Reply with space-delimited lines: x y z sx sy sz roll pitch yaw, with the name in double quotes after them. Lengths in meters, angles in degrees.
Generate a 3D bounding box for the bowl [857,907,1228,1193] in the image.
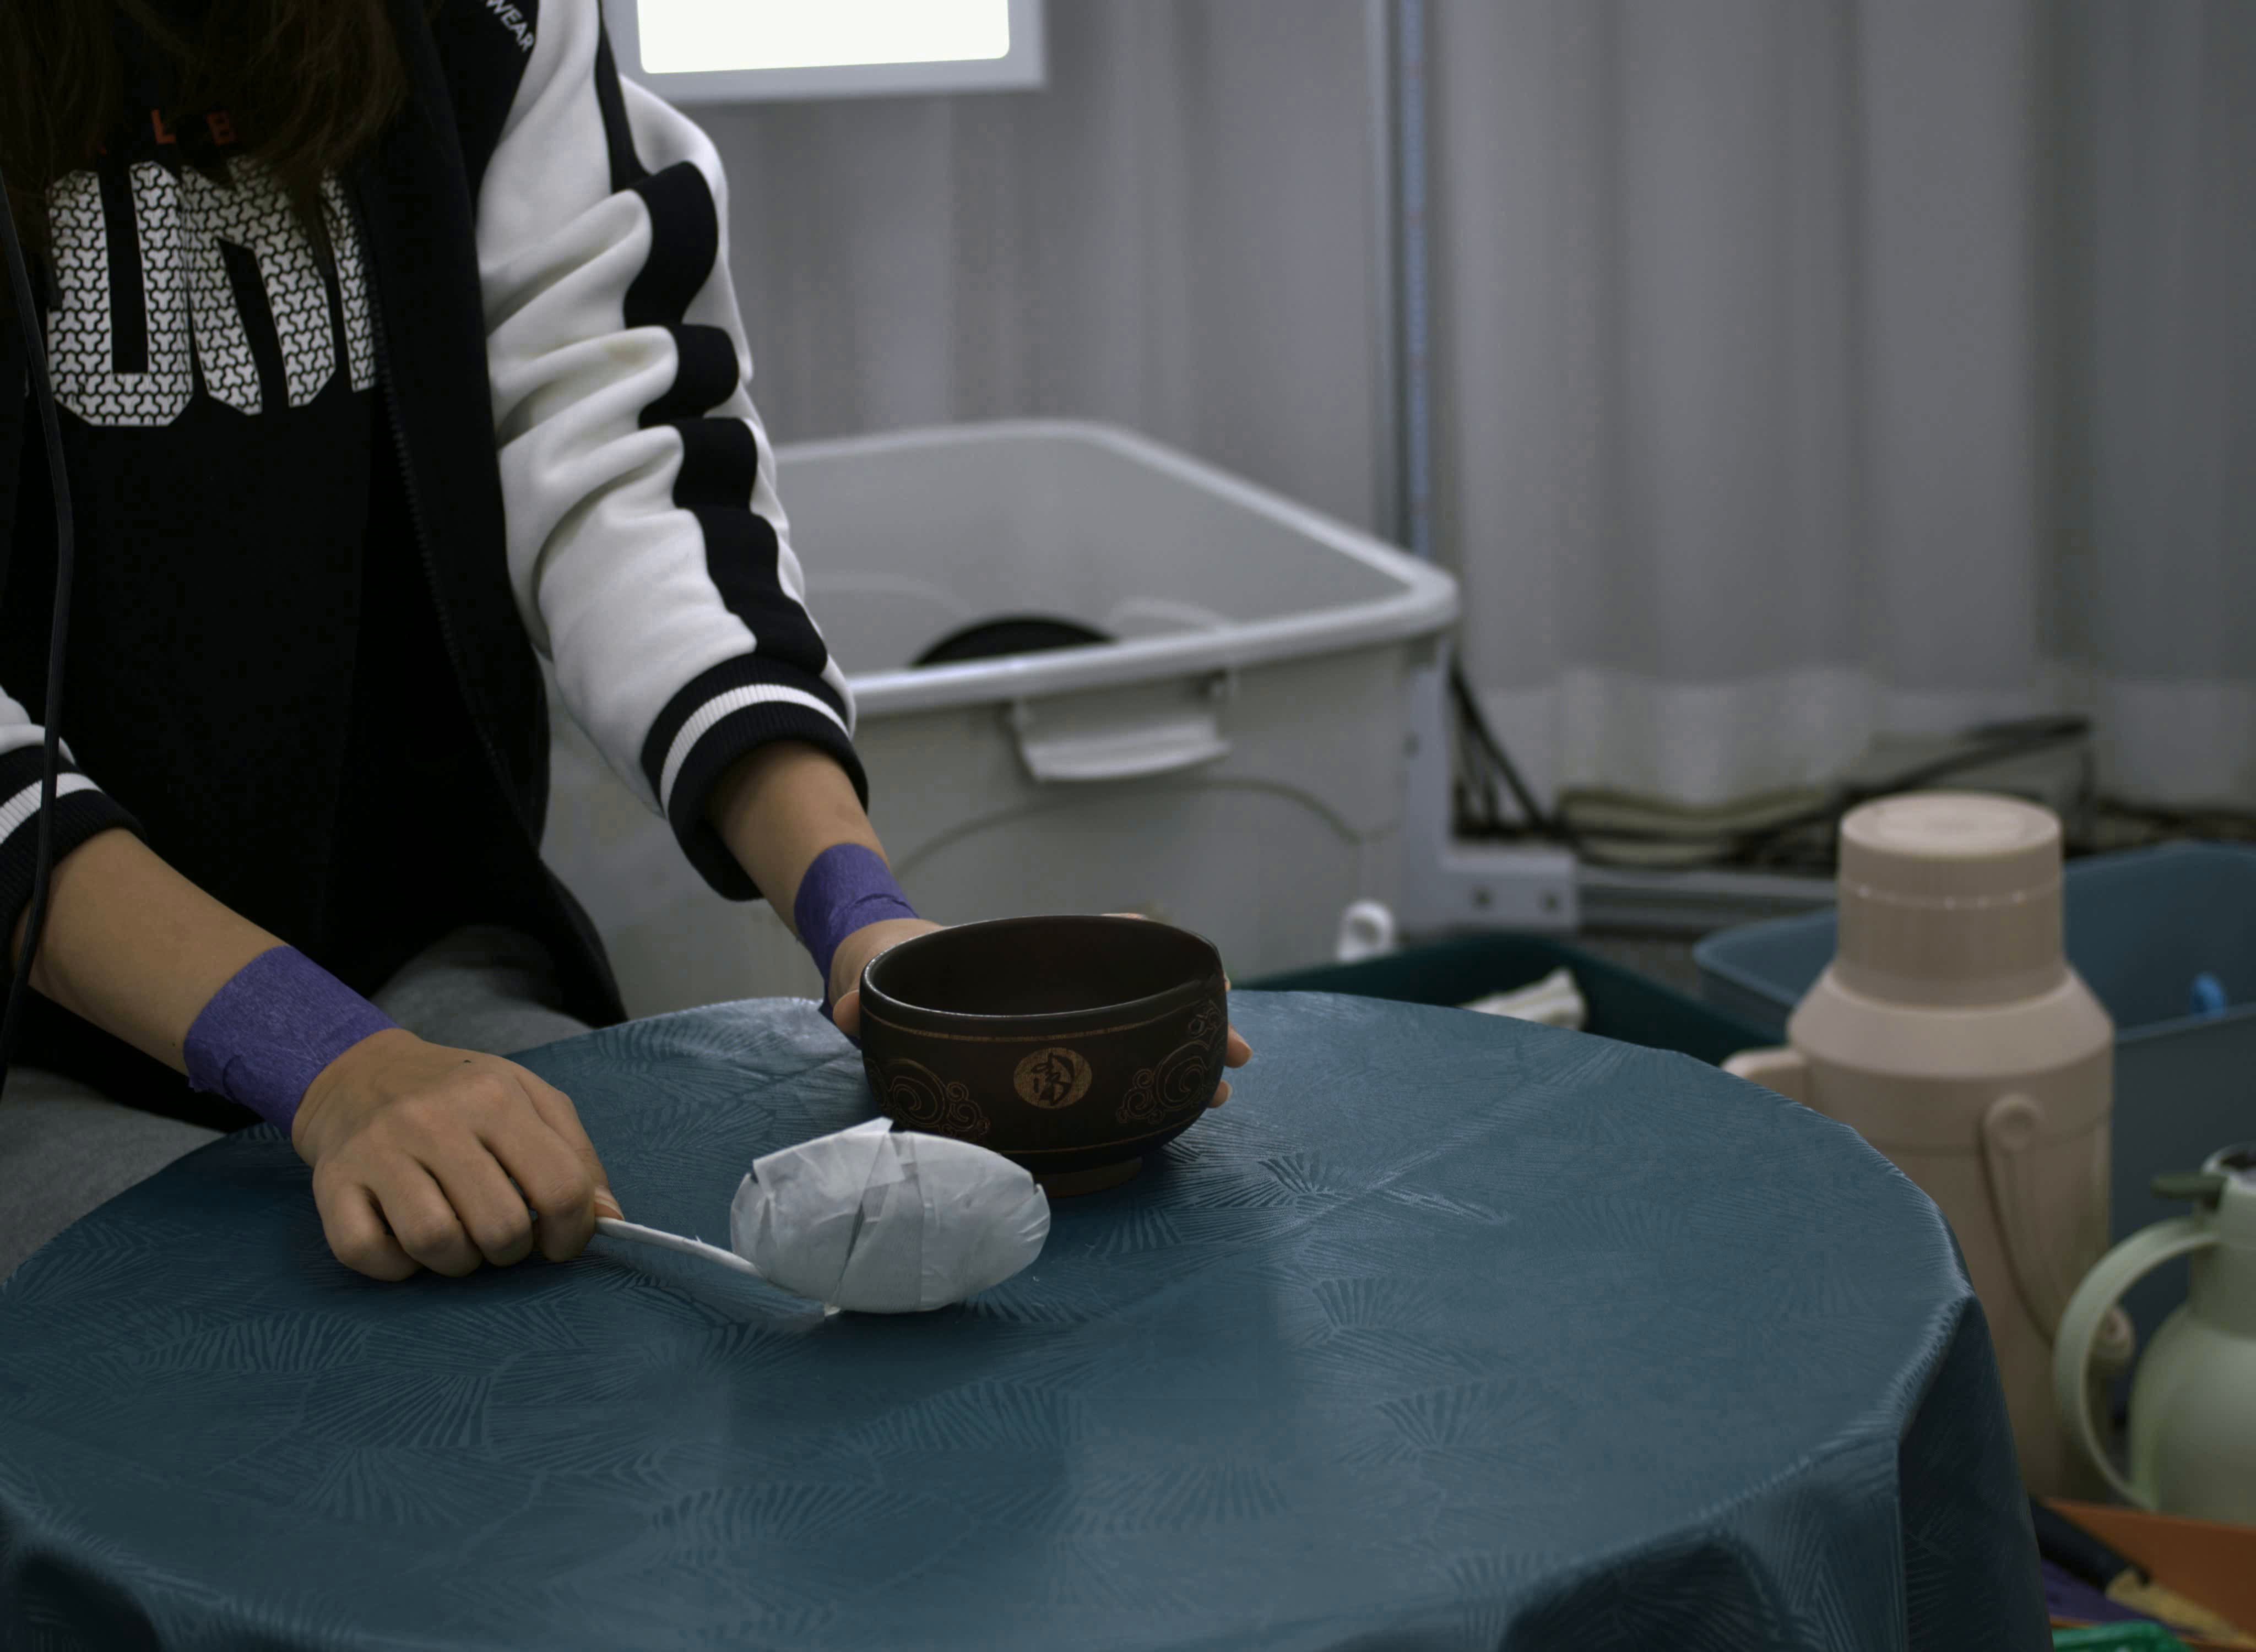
-0.026 0.075 1.729 0.117 0.069 0.119 -2 14 0 "bowl"

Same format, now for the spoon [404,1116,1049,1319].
-0.129 0.107 1.668 0.099 0.060 0.279 40 -19 -34 "spoon"
